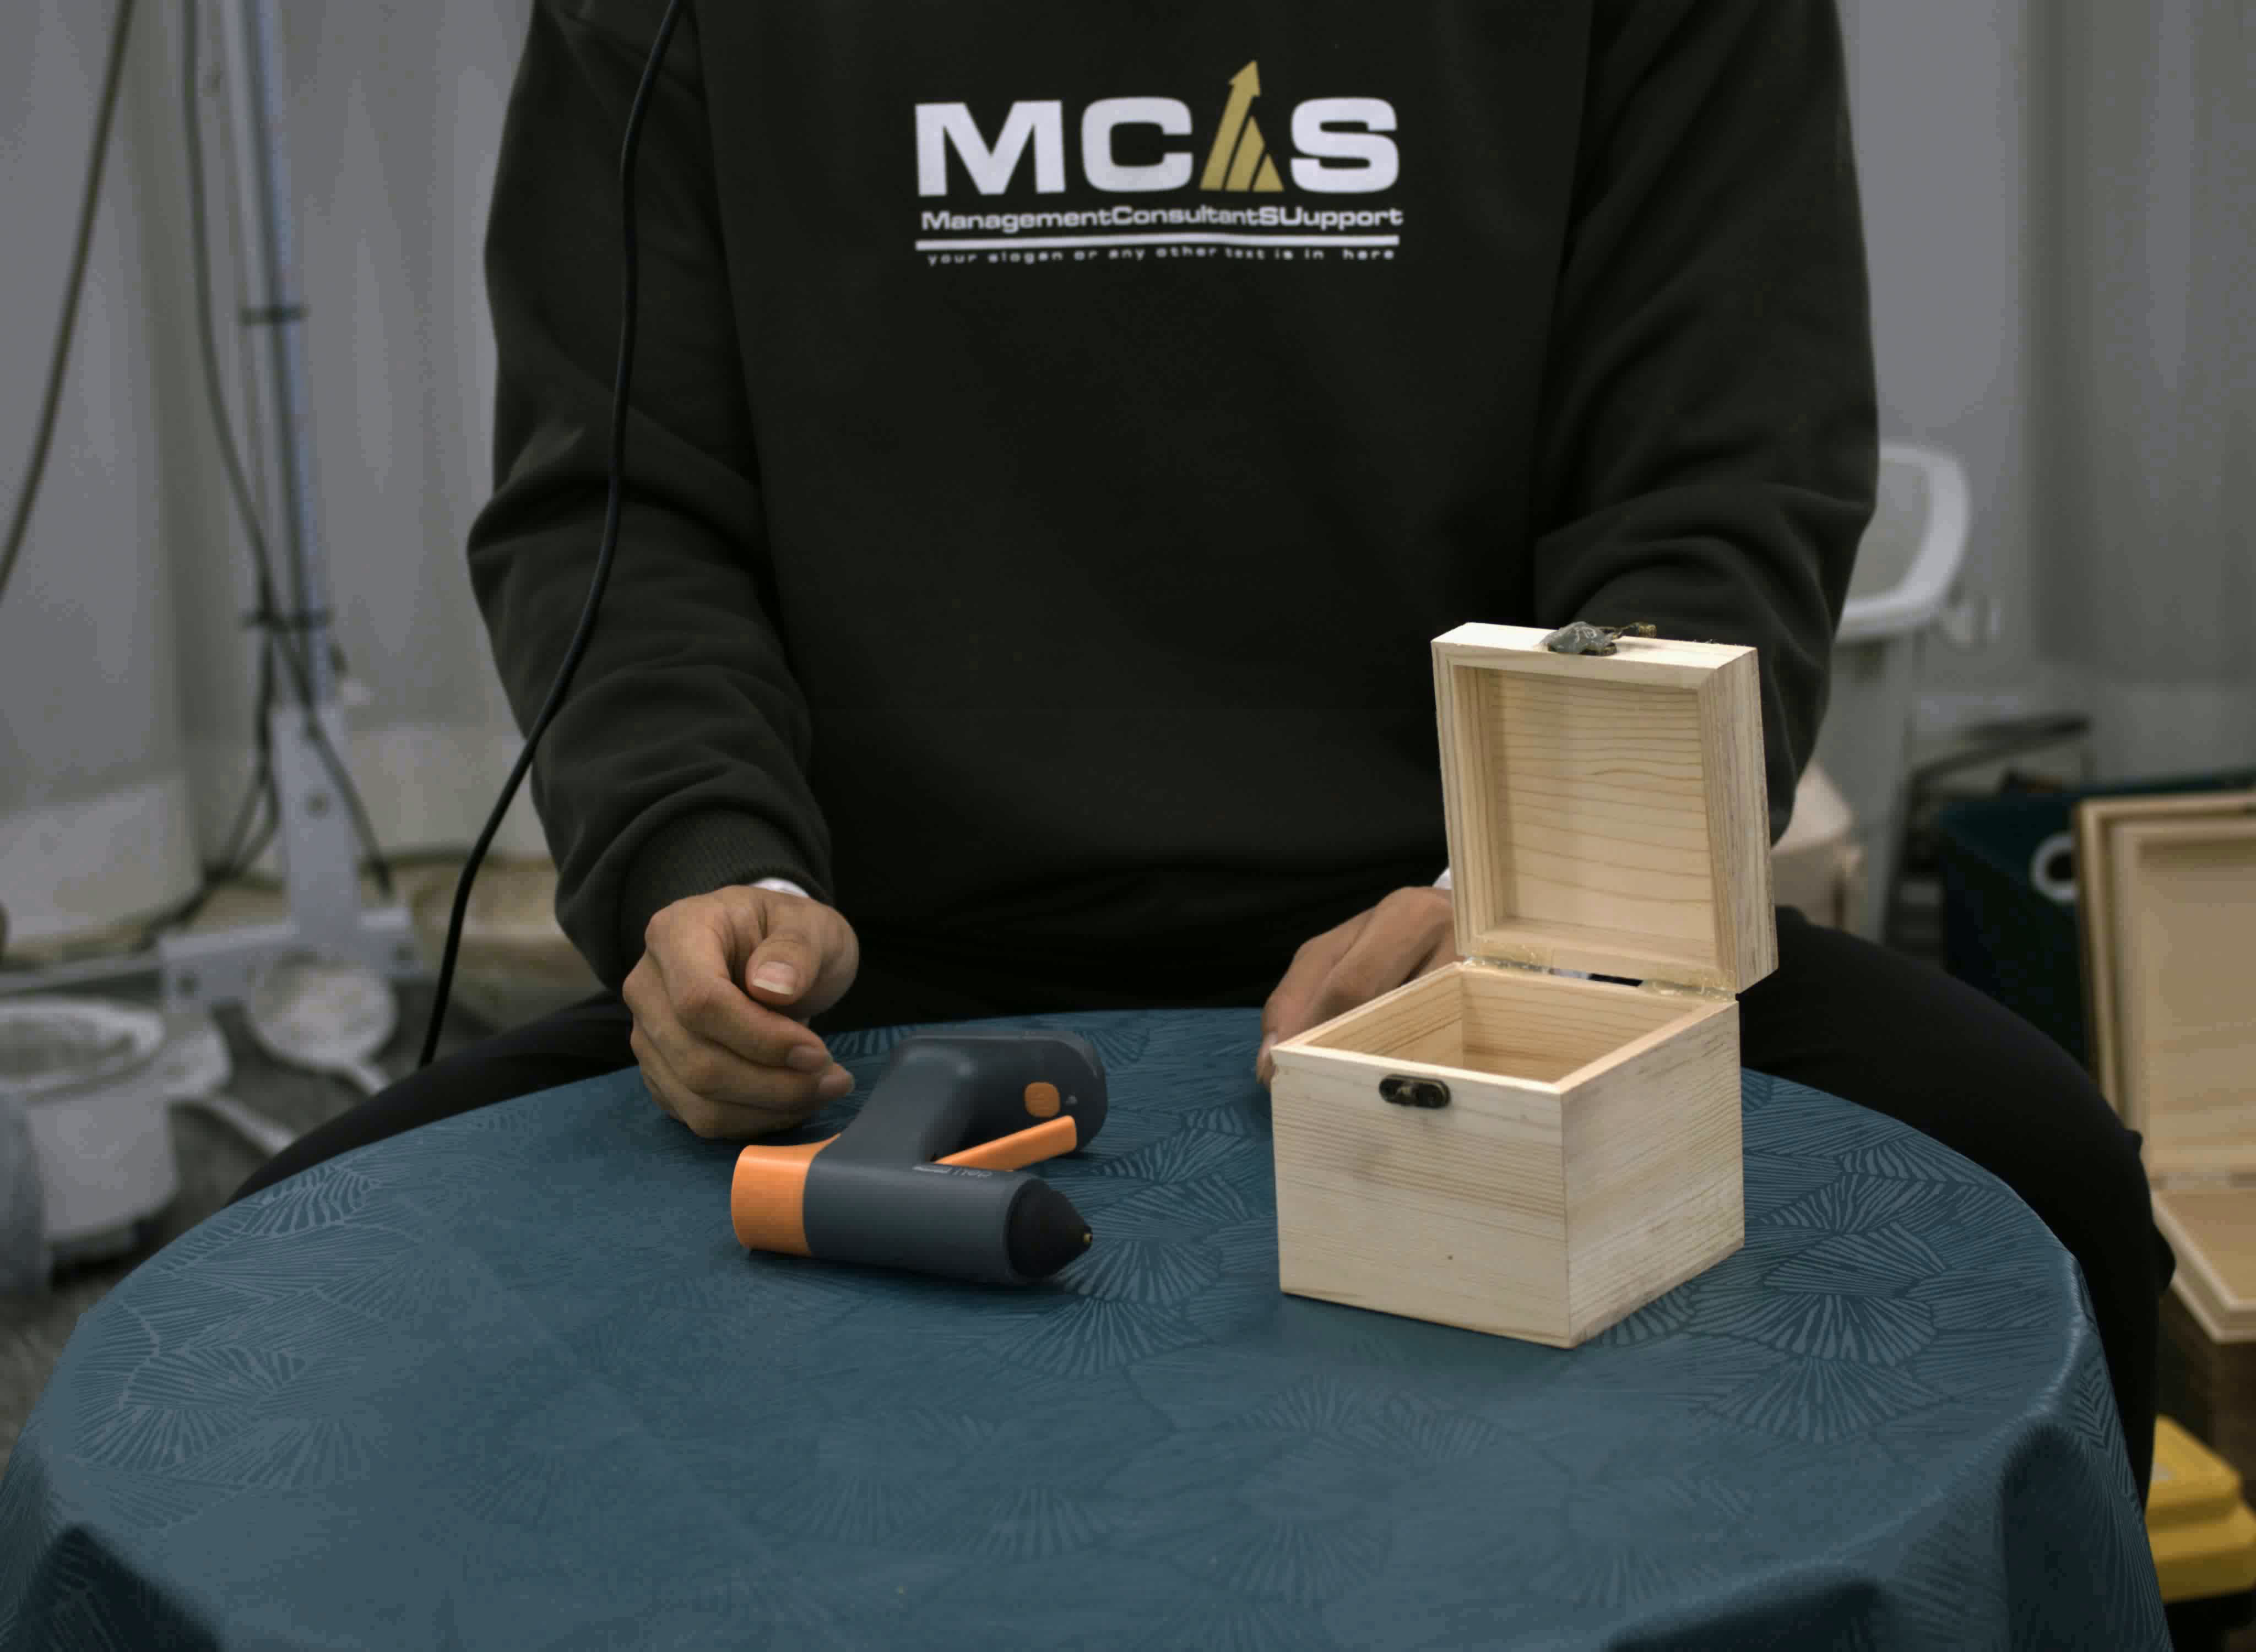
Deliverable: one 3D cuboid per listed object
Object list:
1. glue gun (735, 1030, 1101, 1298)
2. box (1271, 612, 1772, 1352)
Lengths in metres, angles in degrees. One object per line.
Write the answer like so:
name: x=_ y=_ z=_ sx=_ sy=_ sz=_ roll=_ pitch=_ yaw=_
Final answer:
glue gun: x=-0.053 y=0.107 z=1.694 sx=0.118 sy=0.041 sz=0.140 roll=3 pitch=18 yaw=13
box: x=0.115 y=0.041 z=1.610 sx=0.103 sy=0.184 sz=0.134 roll=7 pitch=18 yaw=34
